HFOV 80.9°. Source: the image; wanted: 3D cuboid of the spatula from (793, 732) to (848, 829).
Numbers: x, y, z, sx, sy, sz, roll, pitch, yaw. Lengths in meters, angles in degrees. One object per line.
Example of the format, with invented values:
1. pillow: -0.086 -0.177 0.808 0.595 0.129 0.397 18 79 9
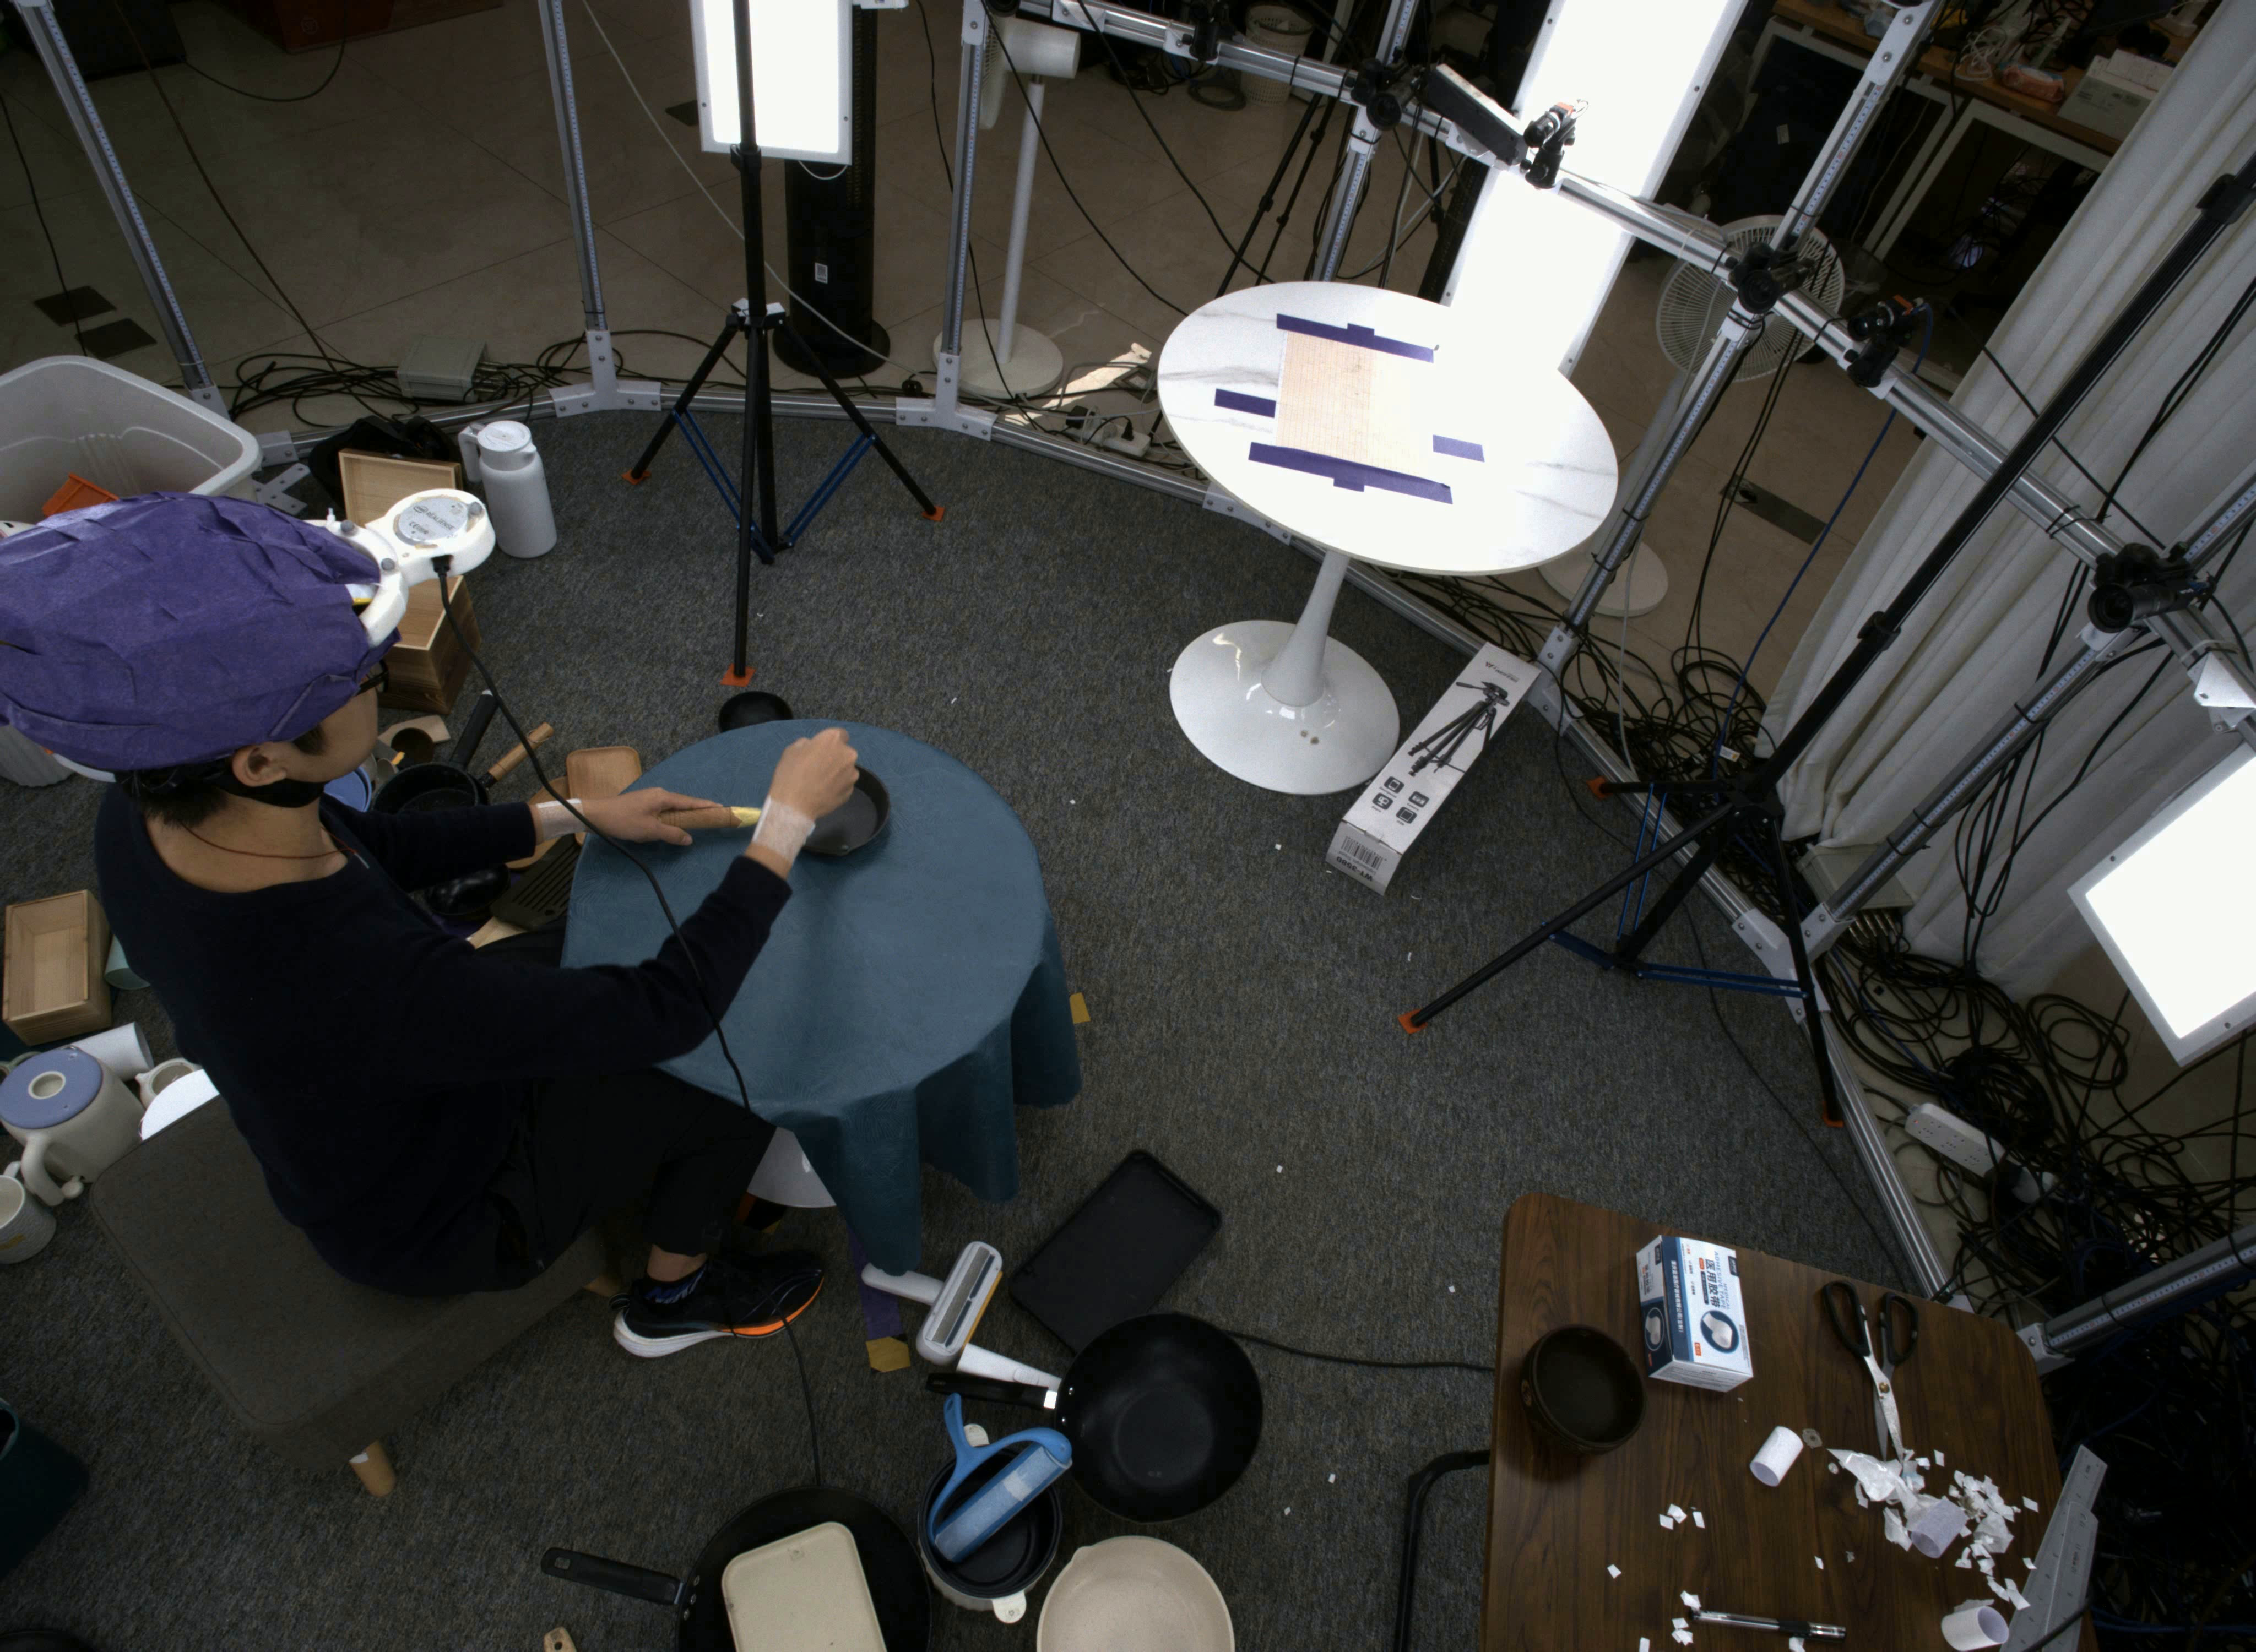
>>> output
1. spatula: -0.368 -0.054 1.540 0.080 0.328 0.016 -33 83 -18

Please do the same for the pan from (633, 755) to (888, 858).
1. pan: -0.475 -0.017 1.680 0.326 0.050 0.165 -5 56 -20
